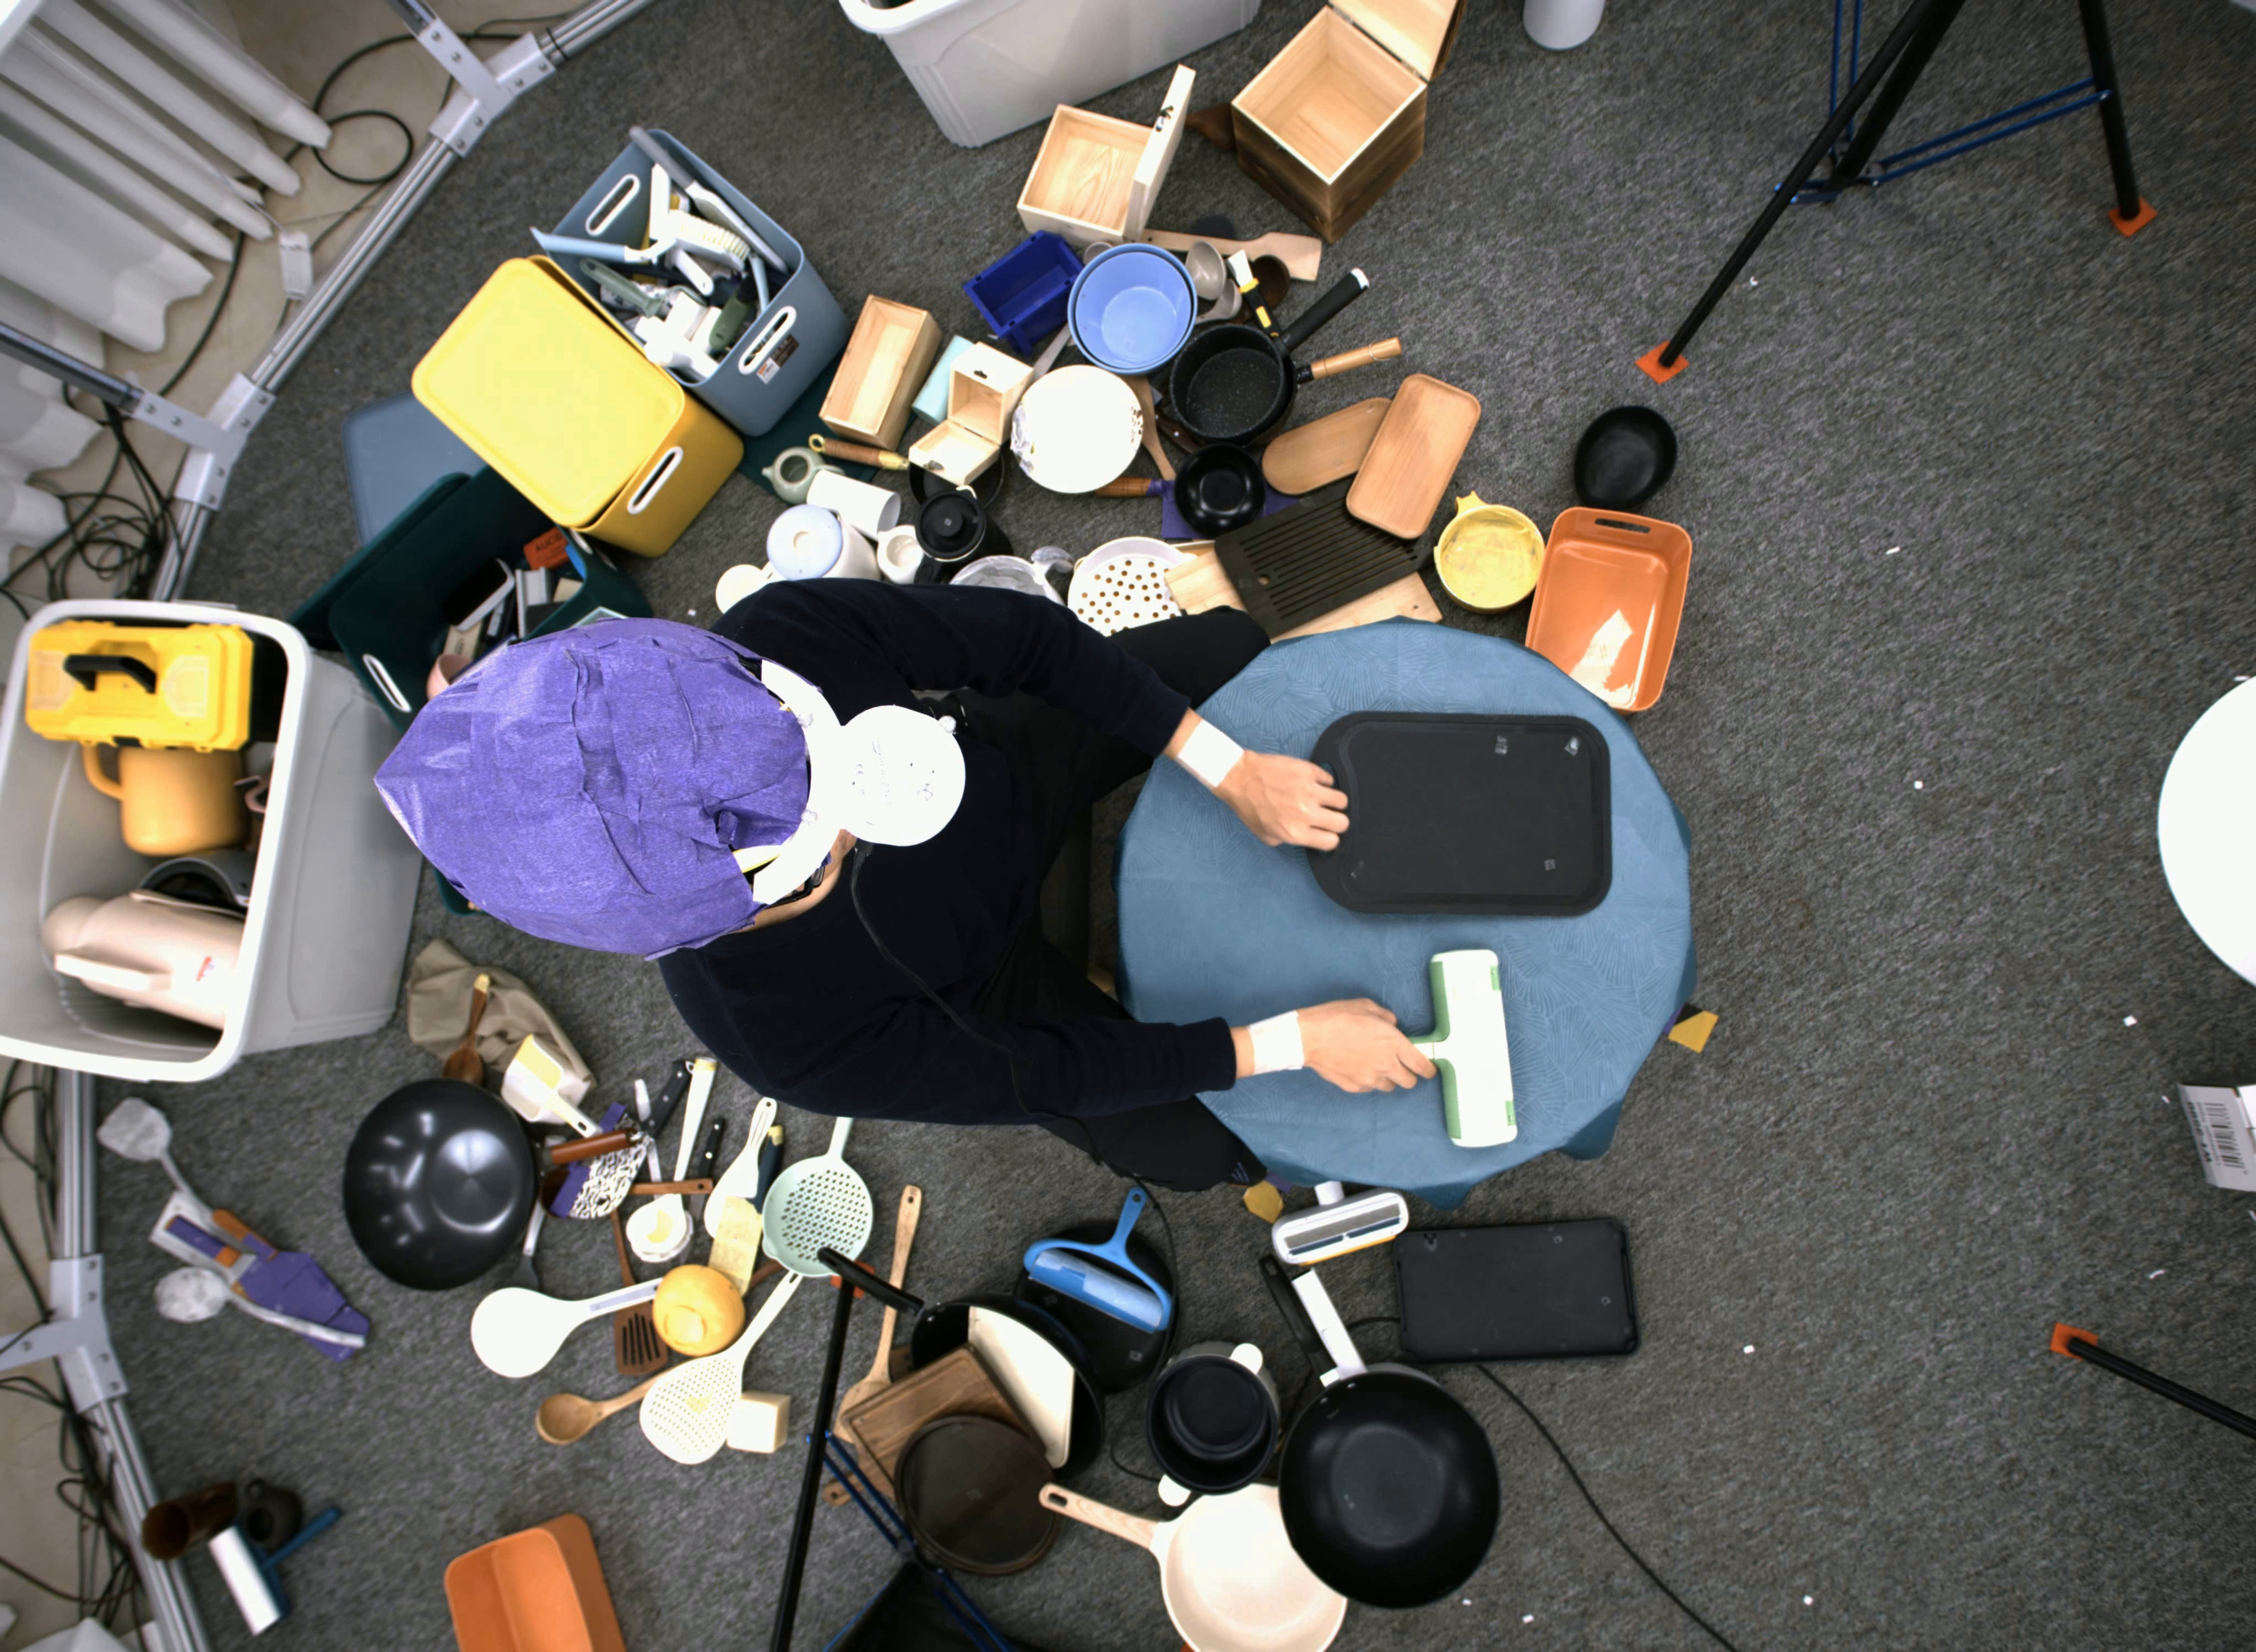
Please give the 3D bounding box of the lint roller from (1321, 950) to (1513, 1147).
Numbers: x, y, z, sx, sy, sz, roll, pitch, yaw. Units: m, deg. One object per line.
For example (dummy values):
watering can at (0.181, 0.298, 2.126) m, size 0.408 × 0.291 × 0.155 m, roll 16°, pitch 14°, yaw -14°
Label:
lint roller at (0.292, 0.227, 1.398) m, size 0.183 × 0.082 × 0.197 m, roll -4°, pitch 86°, yaw -3°

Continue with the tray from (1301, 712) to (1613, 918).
tray at (0.341, -0.014, 1.420) m, size 0.326 × 0.010 × 0.210 m, roll 1°, pitch 87°, yaw 0°
